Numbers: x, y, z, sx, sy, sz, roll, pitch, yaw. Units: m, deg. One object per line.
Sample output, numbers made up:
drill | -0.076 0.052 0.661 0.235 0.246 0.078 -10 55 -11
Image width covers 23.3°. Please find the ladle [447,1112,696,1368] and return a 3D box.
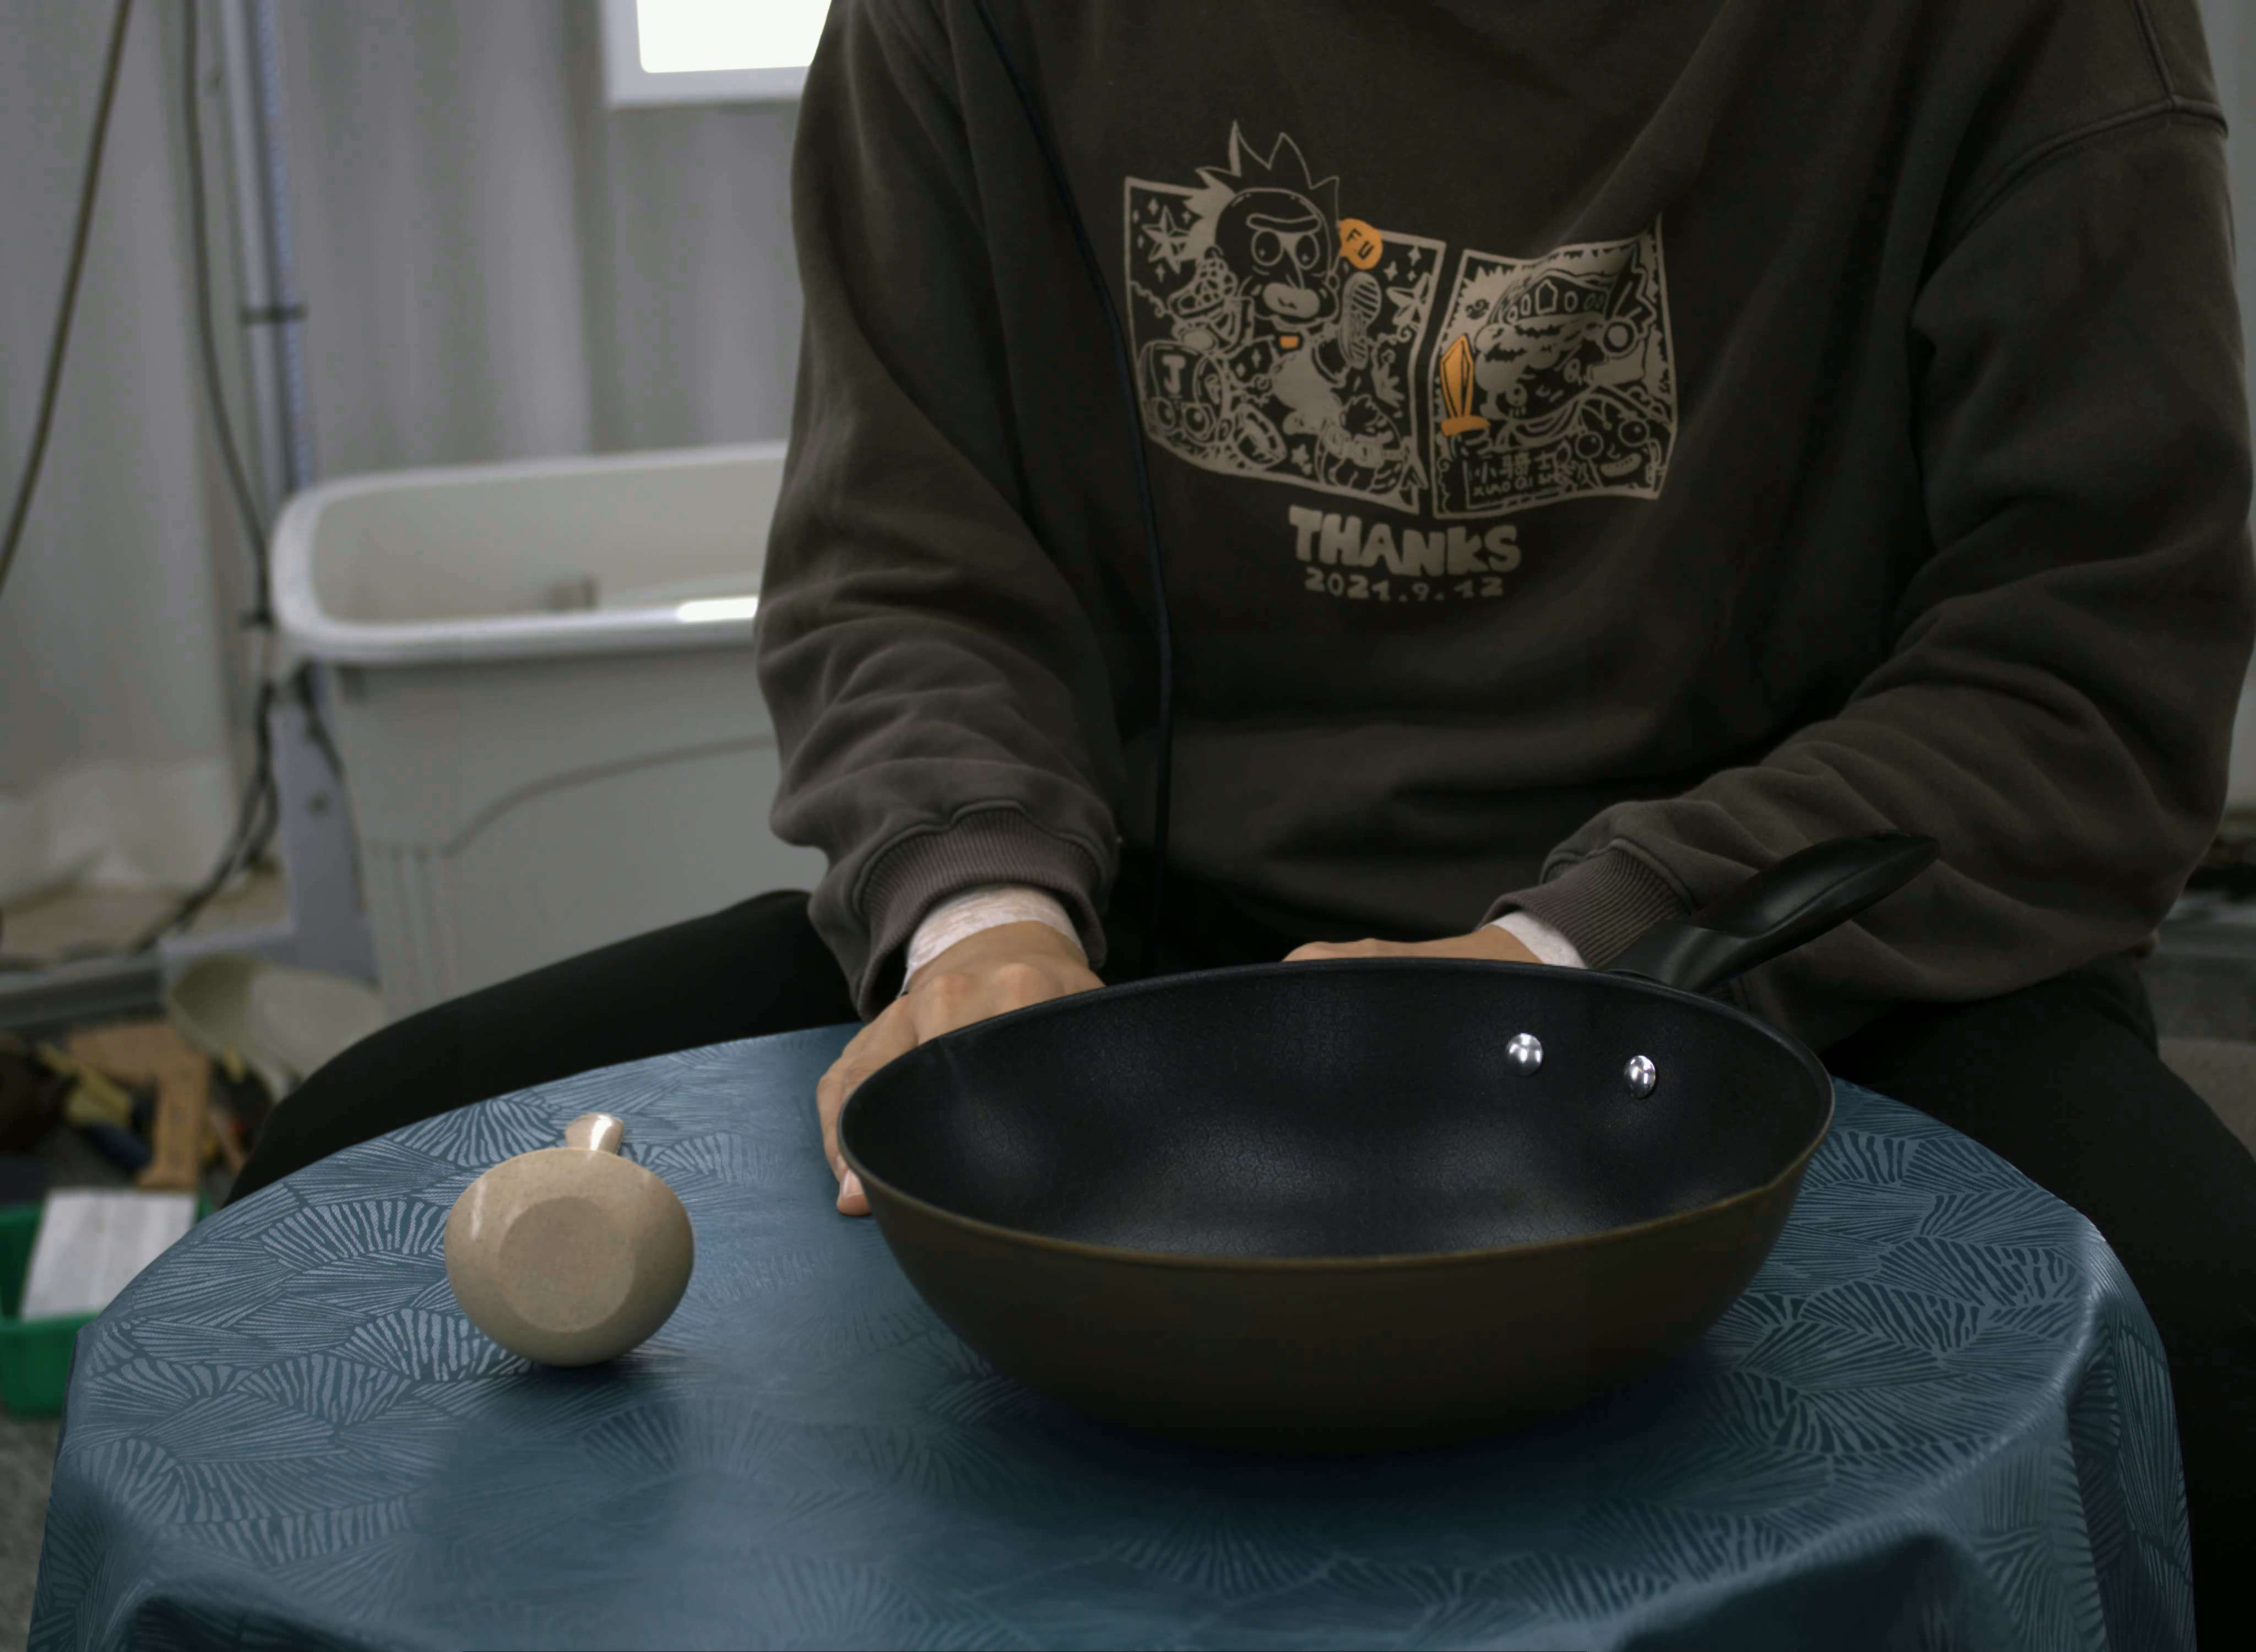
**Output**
ladle | -0.173 0.097 1.682 0.072 0.072 0.256 -10 16 -4

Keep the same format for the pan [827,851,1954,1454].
pan | 0.113 0.093 1.621 0.289 0.086 0.463 8 18 37
